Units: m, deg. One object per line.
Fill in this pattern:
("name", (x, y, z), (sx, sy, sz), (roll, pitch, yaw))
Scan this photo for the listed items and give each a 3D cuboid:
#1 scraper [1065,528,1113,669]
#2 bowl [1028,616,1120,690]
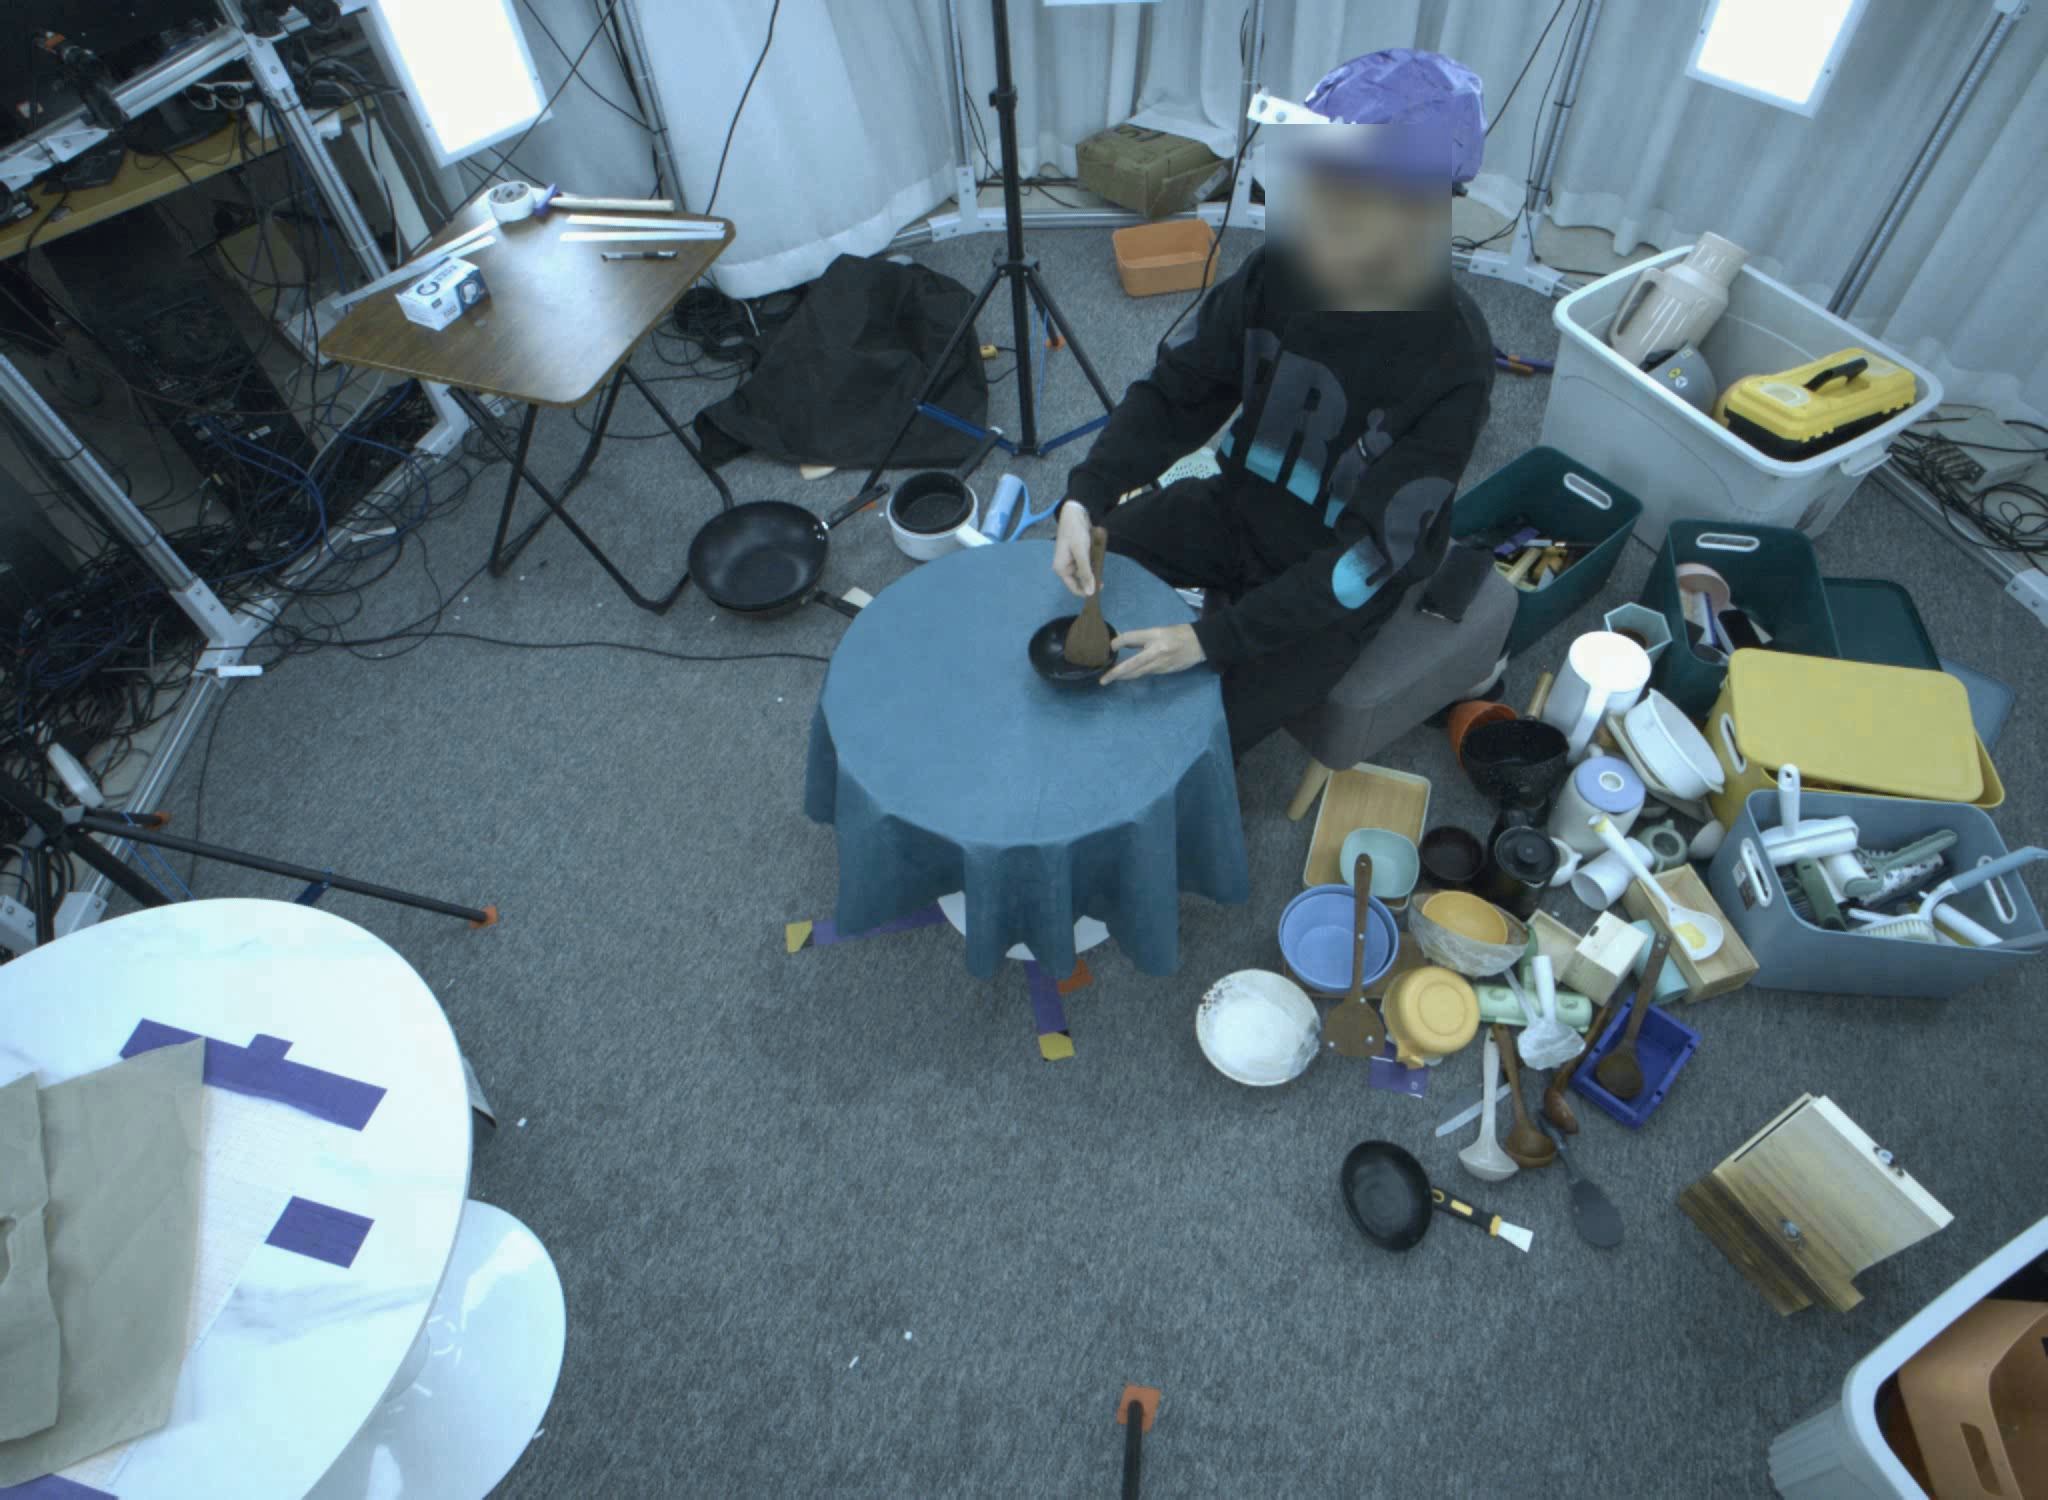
("scraper", (0.104, -0.226, 1.835), (0.074, 0.212, 0.011), (12, 20, 22))
("bowl", (0.078, -0.137, 1.853), (0.139, 0.050, 0.138), (-5, 48, 7))
